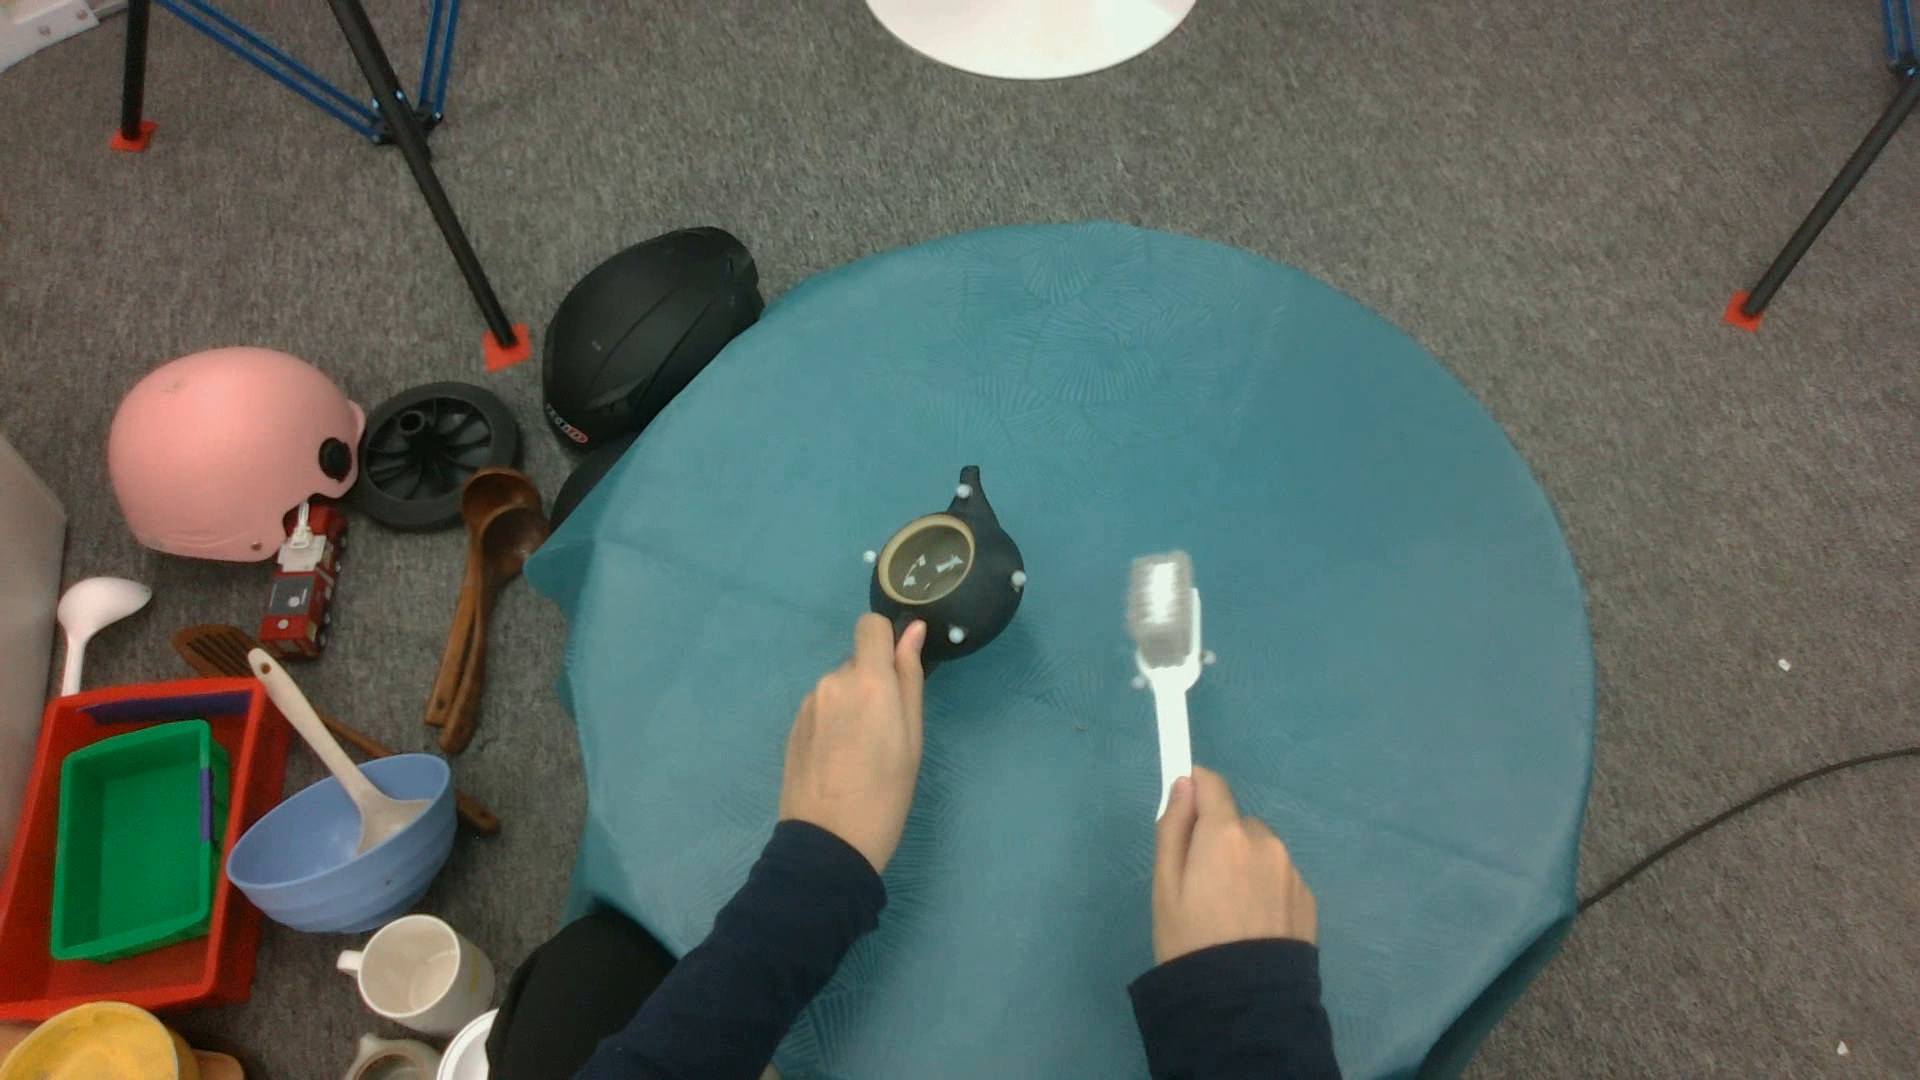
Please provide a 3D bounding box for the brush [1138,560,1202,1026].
[{"bbox_3d":[0.105,0.115,0.695,0.034,0.050,0.245,0,55,10],"label":"brush"}]

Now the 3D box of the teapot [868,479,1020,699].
[{"bbox_3d":[-0.011,0.032,0.779,0.091,0.053,0.134,6,58,30],"label":"teapot"}]
